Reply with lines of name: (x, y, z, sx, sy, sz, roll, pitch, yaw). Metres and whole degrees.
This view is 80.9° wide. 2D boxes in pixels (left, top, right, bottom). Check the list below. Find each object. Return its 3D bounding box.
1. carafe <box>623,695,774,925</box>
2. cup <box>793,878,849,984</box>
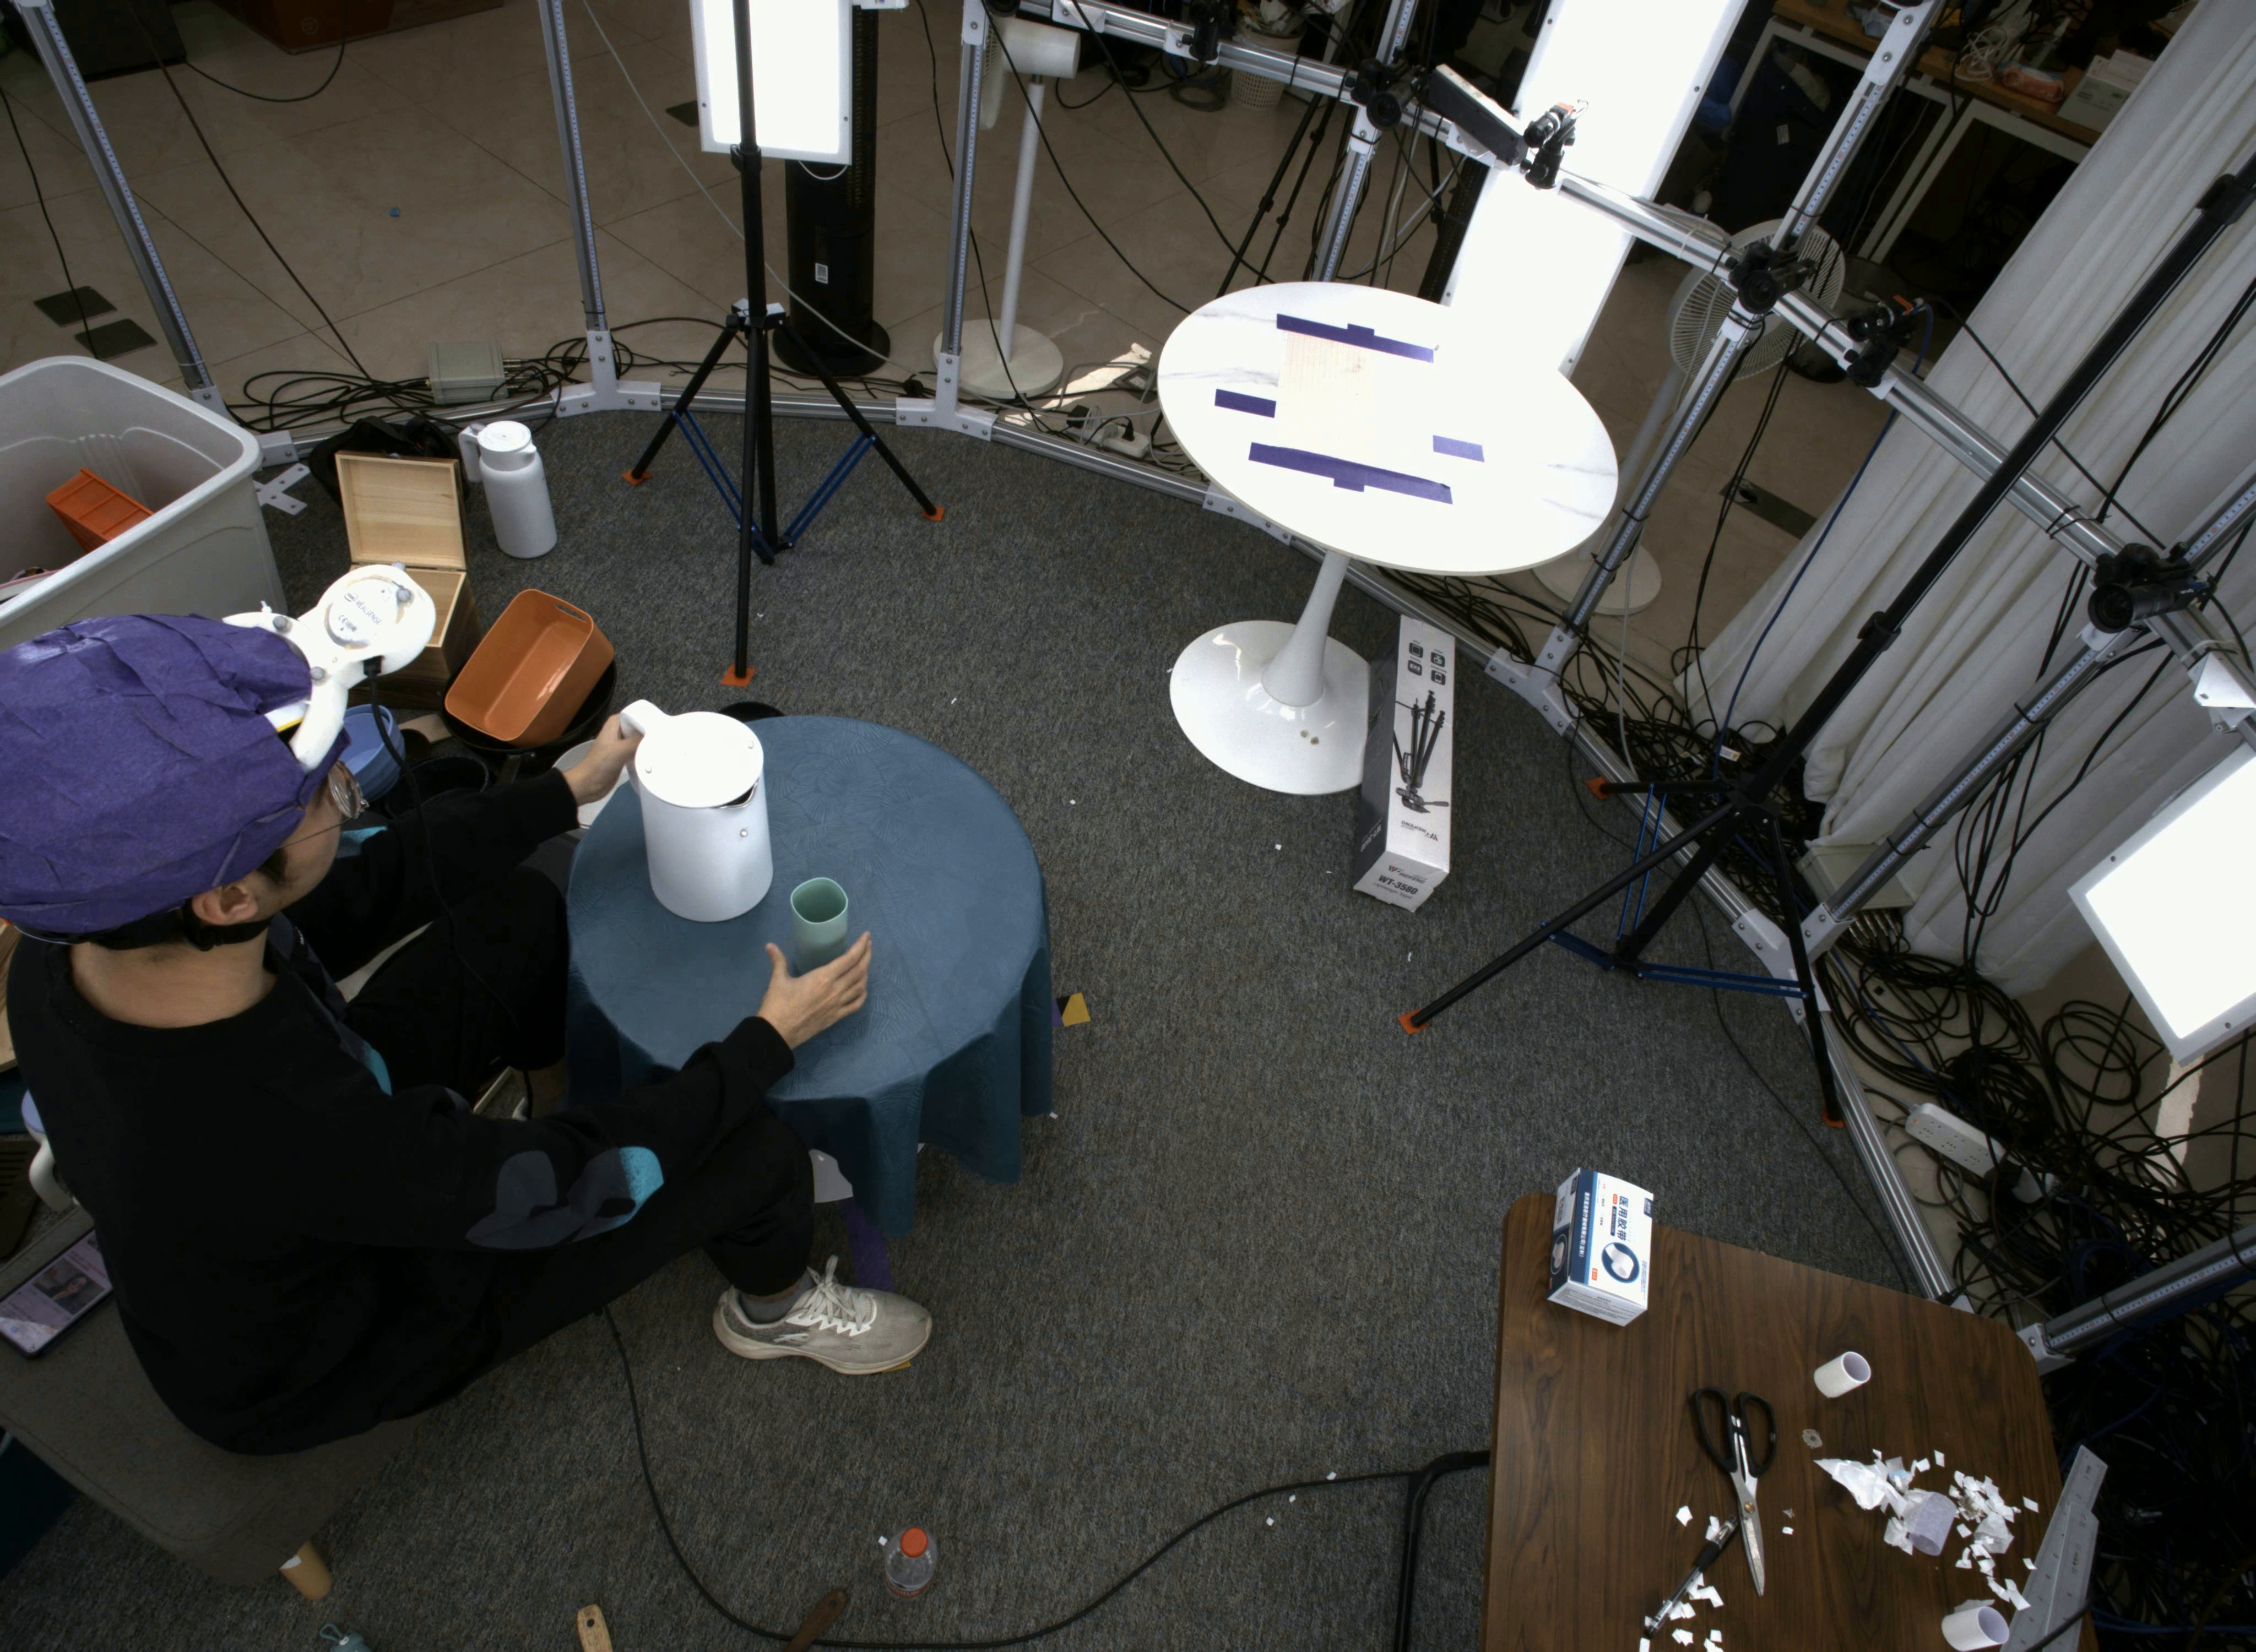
carafe: (-0.531, -0.028, 1.572, 0.209, 0.245, 0.152, 37, 53, 15)
cup: (-0.373, 0.127, 1.570, 0.066, 0.135, 0.065, 8, 51, -8)
